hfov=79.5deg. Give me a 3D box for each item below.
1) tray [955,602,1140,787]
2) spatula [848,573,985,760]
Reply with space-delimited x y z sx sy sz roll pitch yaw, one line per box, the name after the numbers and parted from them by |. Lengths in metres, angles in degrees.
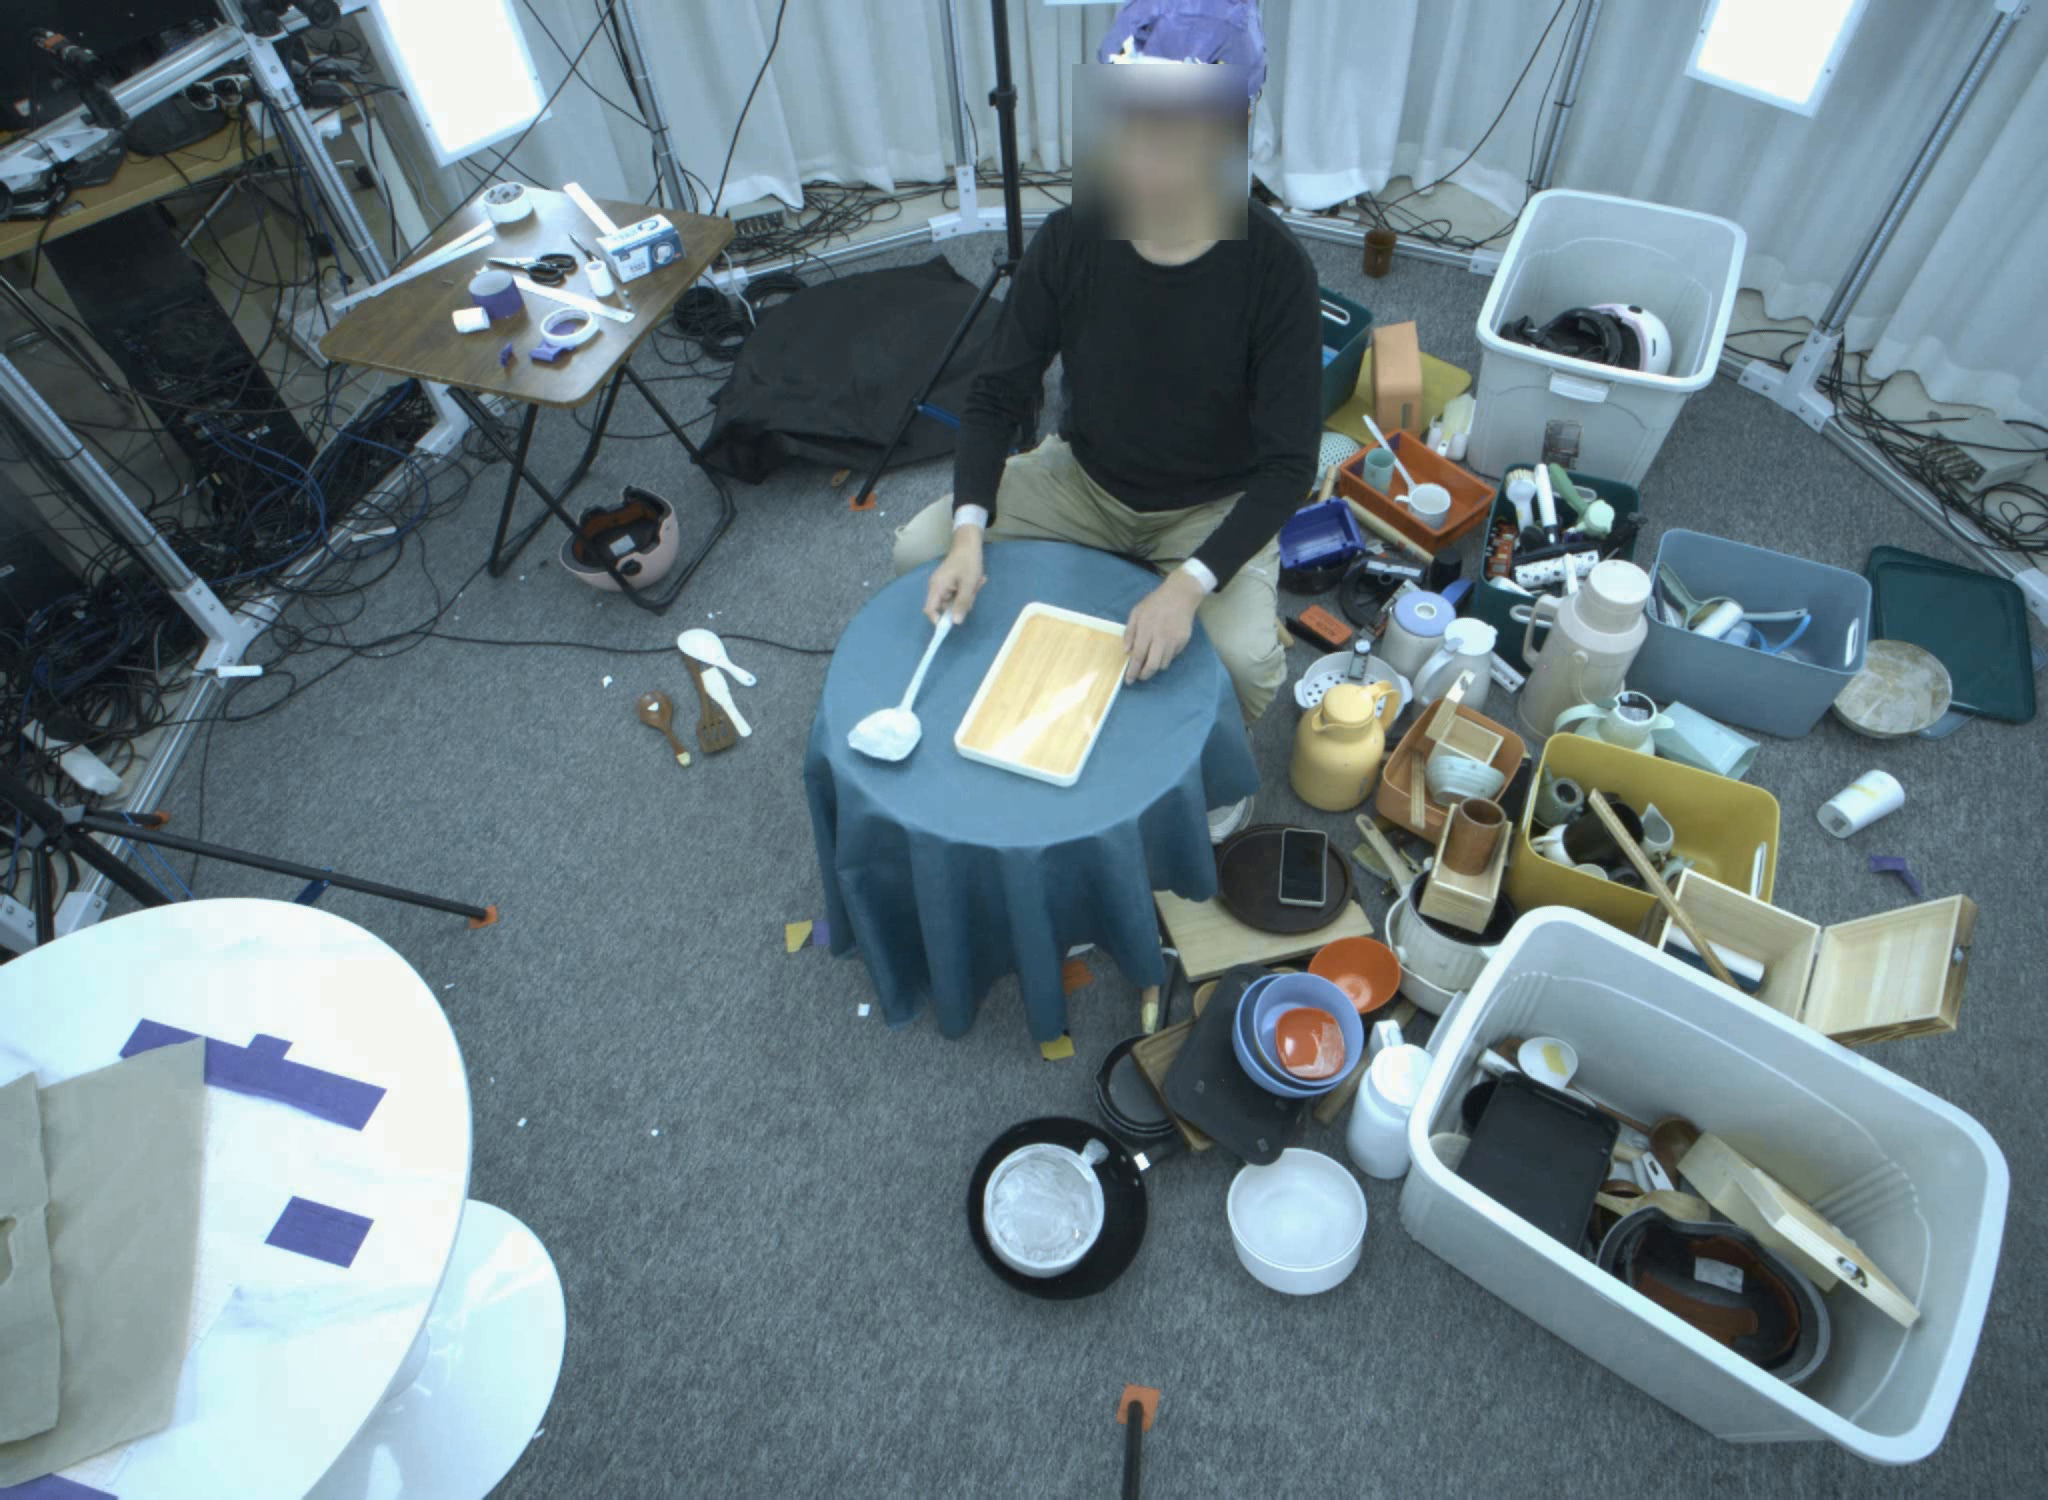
0.039 -0.089 1.833 0.189 0.028 0.300 18 57 14 | tray
-0.146 -0.137 1.841 0.097 0.045 0.364 19 68 15 | spatula
